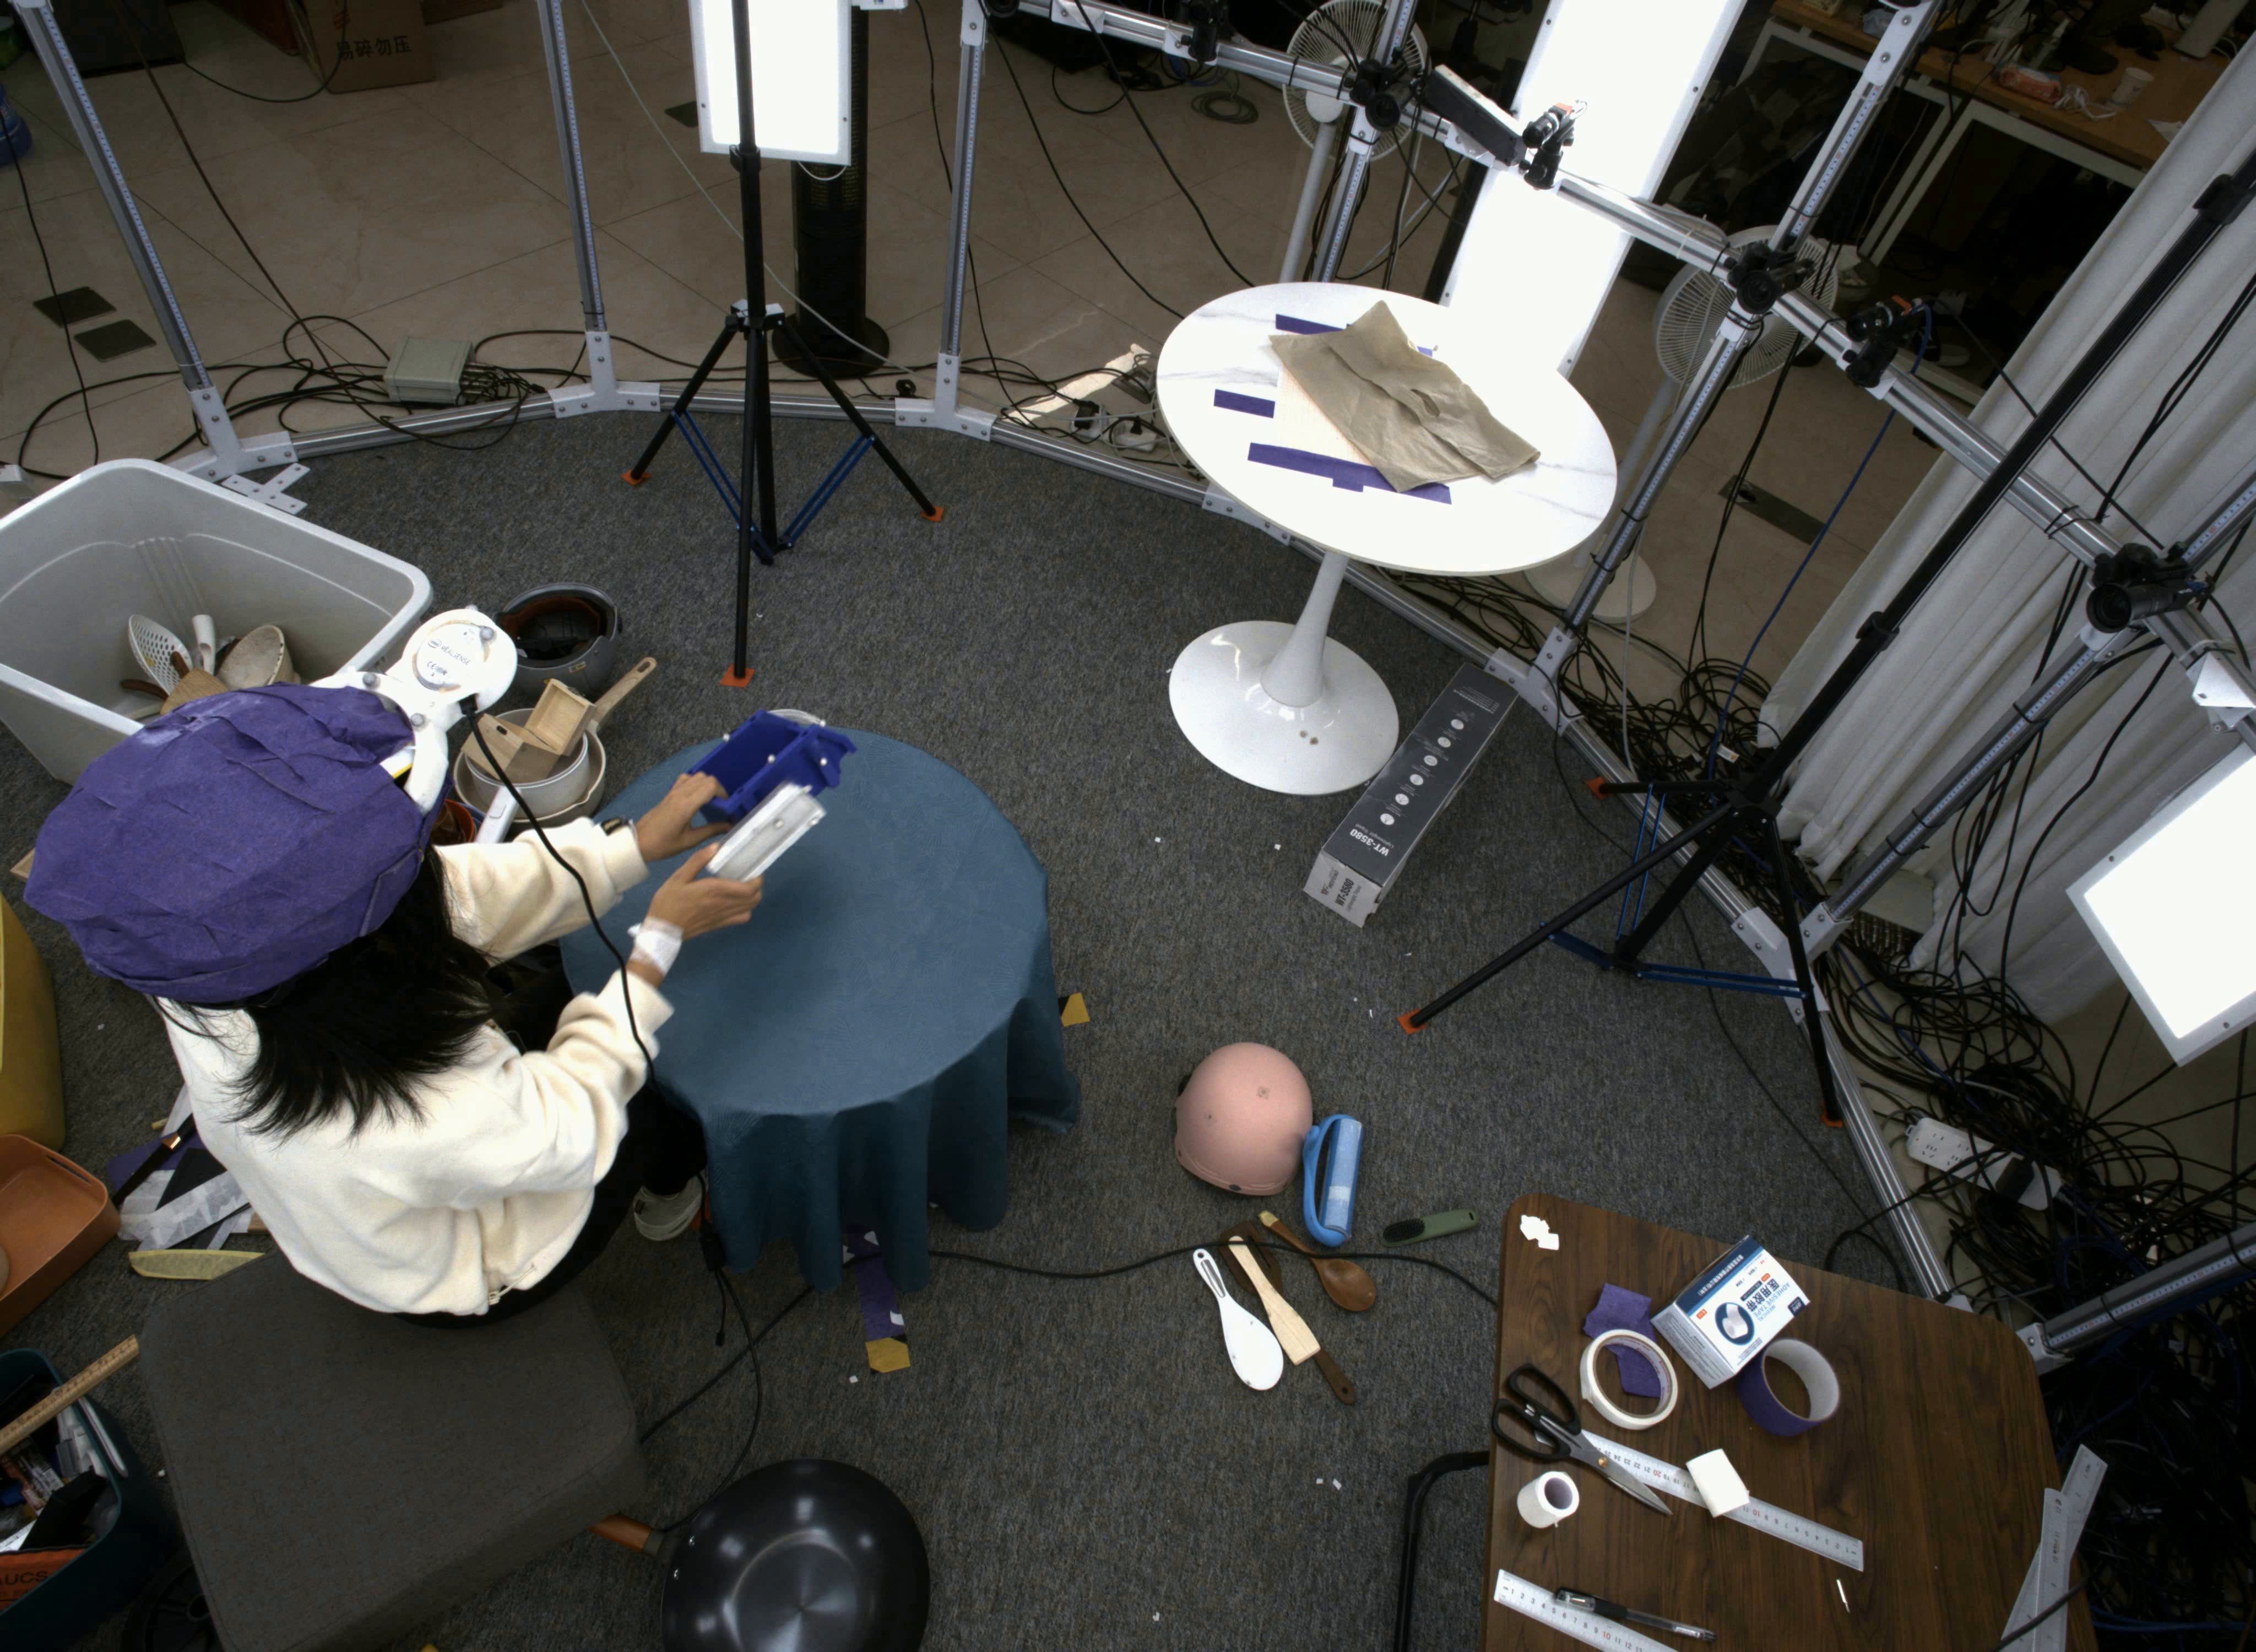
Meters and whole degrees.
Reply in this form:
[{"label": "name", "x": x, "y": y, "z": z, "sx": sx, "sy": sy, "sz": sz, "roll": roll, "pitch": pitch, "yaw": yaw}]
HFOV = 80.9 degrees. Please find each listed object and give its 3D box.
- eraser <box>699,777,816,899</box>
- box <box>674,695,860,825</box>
[{"label": "eraser", "x": -0.416, "y": 0.010, "z": 1.448, "sx": 0.134, "sy": 0.051, "sz": 0.045, "roll": -48, "pitch": 37, "yaw": -6}, {"label": "box", "x": -0.424, "y": -0.079, "z": 1.532, "sx": 0.120, "sy": 0.085, "sz": 0.179, "roll": 17, "pitch": 55, "yaw": 39}]
